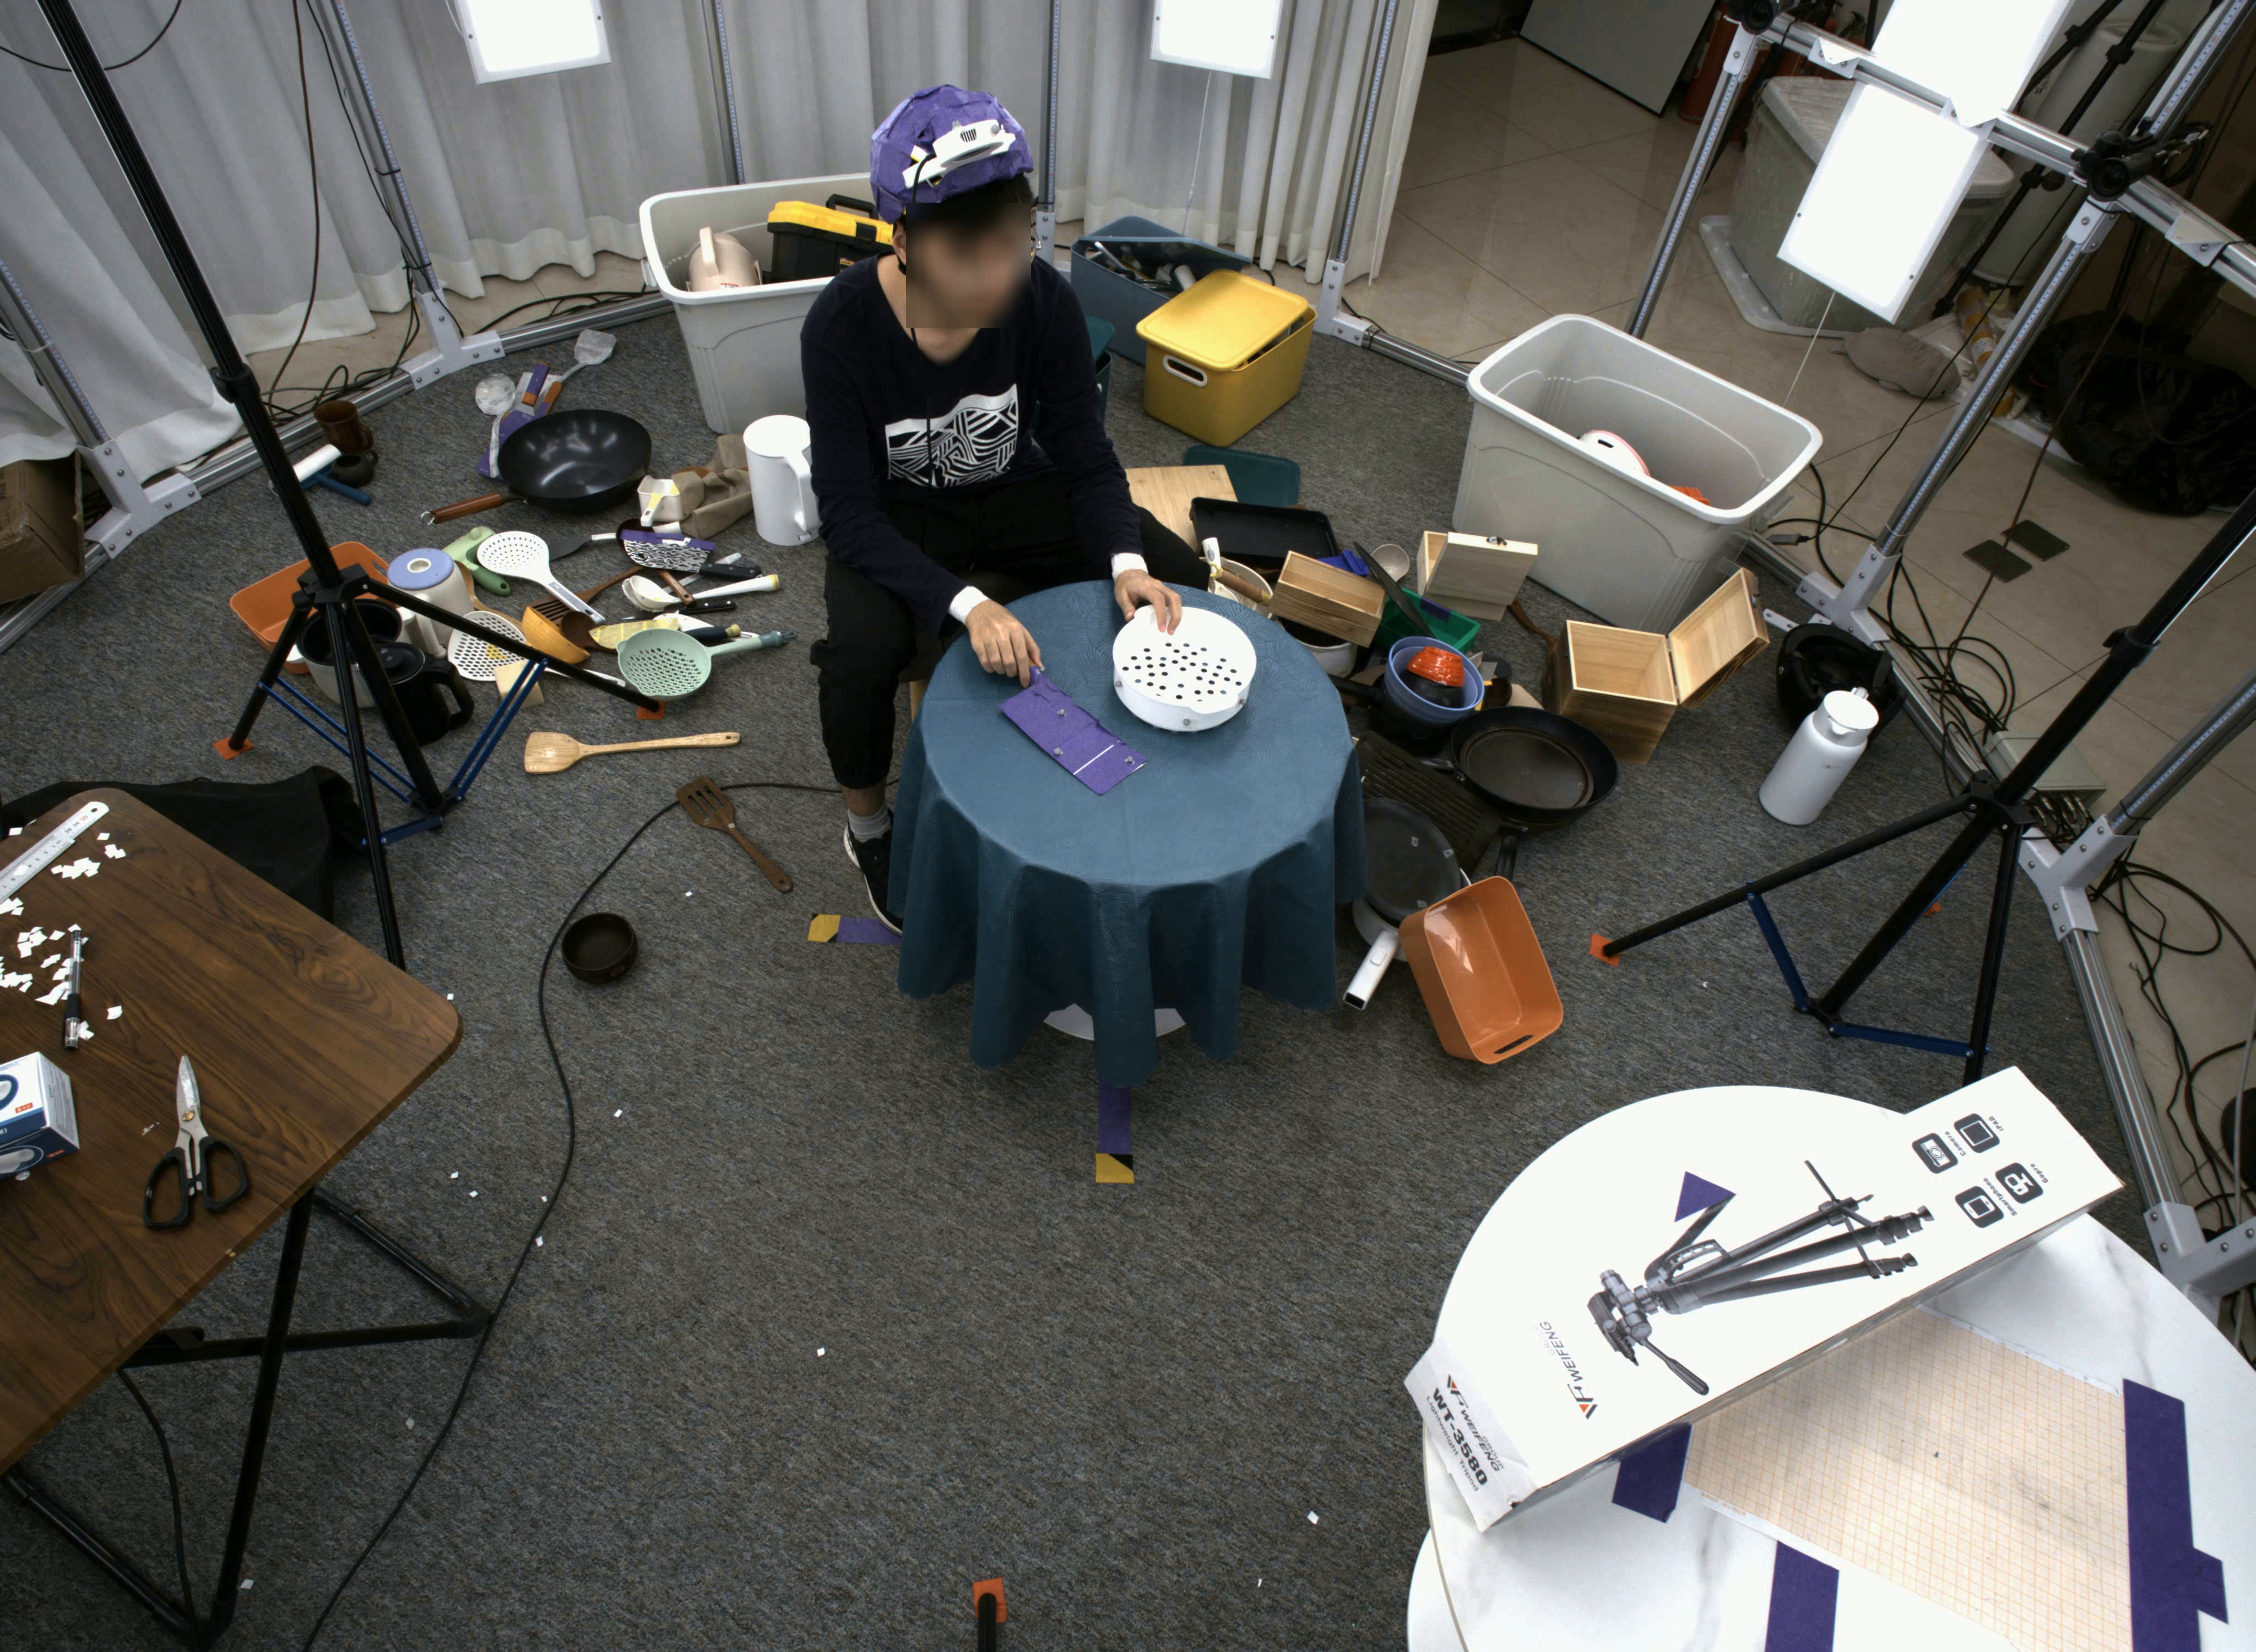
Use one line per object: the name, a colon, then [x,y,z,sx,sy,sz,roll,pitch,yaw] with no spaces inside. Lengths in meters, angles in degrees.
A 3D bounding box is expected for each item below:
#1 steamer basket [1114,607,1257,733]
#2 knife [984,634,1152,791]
steamer basket: [0.080,-0.218,1.820,0.202,0.067,0.236,-14,49,-17]
knife: [-0.110,-0.161,1.782,0.105,0.031,0.320,-35,60,-29]
